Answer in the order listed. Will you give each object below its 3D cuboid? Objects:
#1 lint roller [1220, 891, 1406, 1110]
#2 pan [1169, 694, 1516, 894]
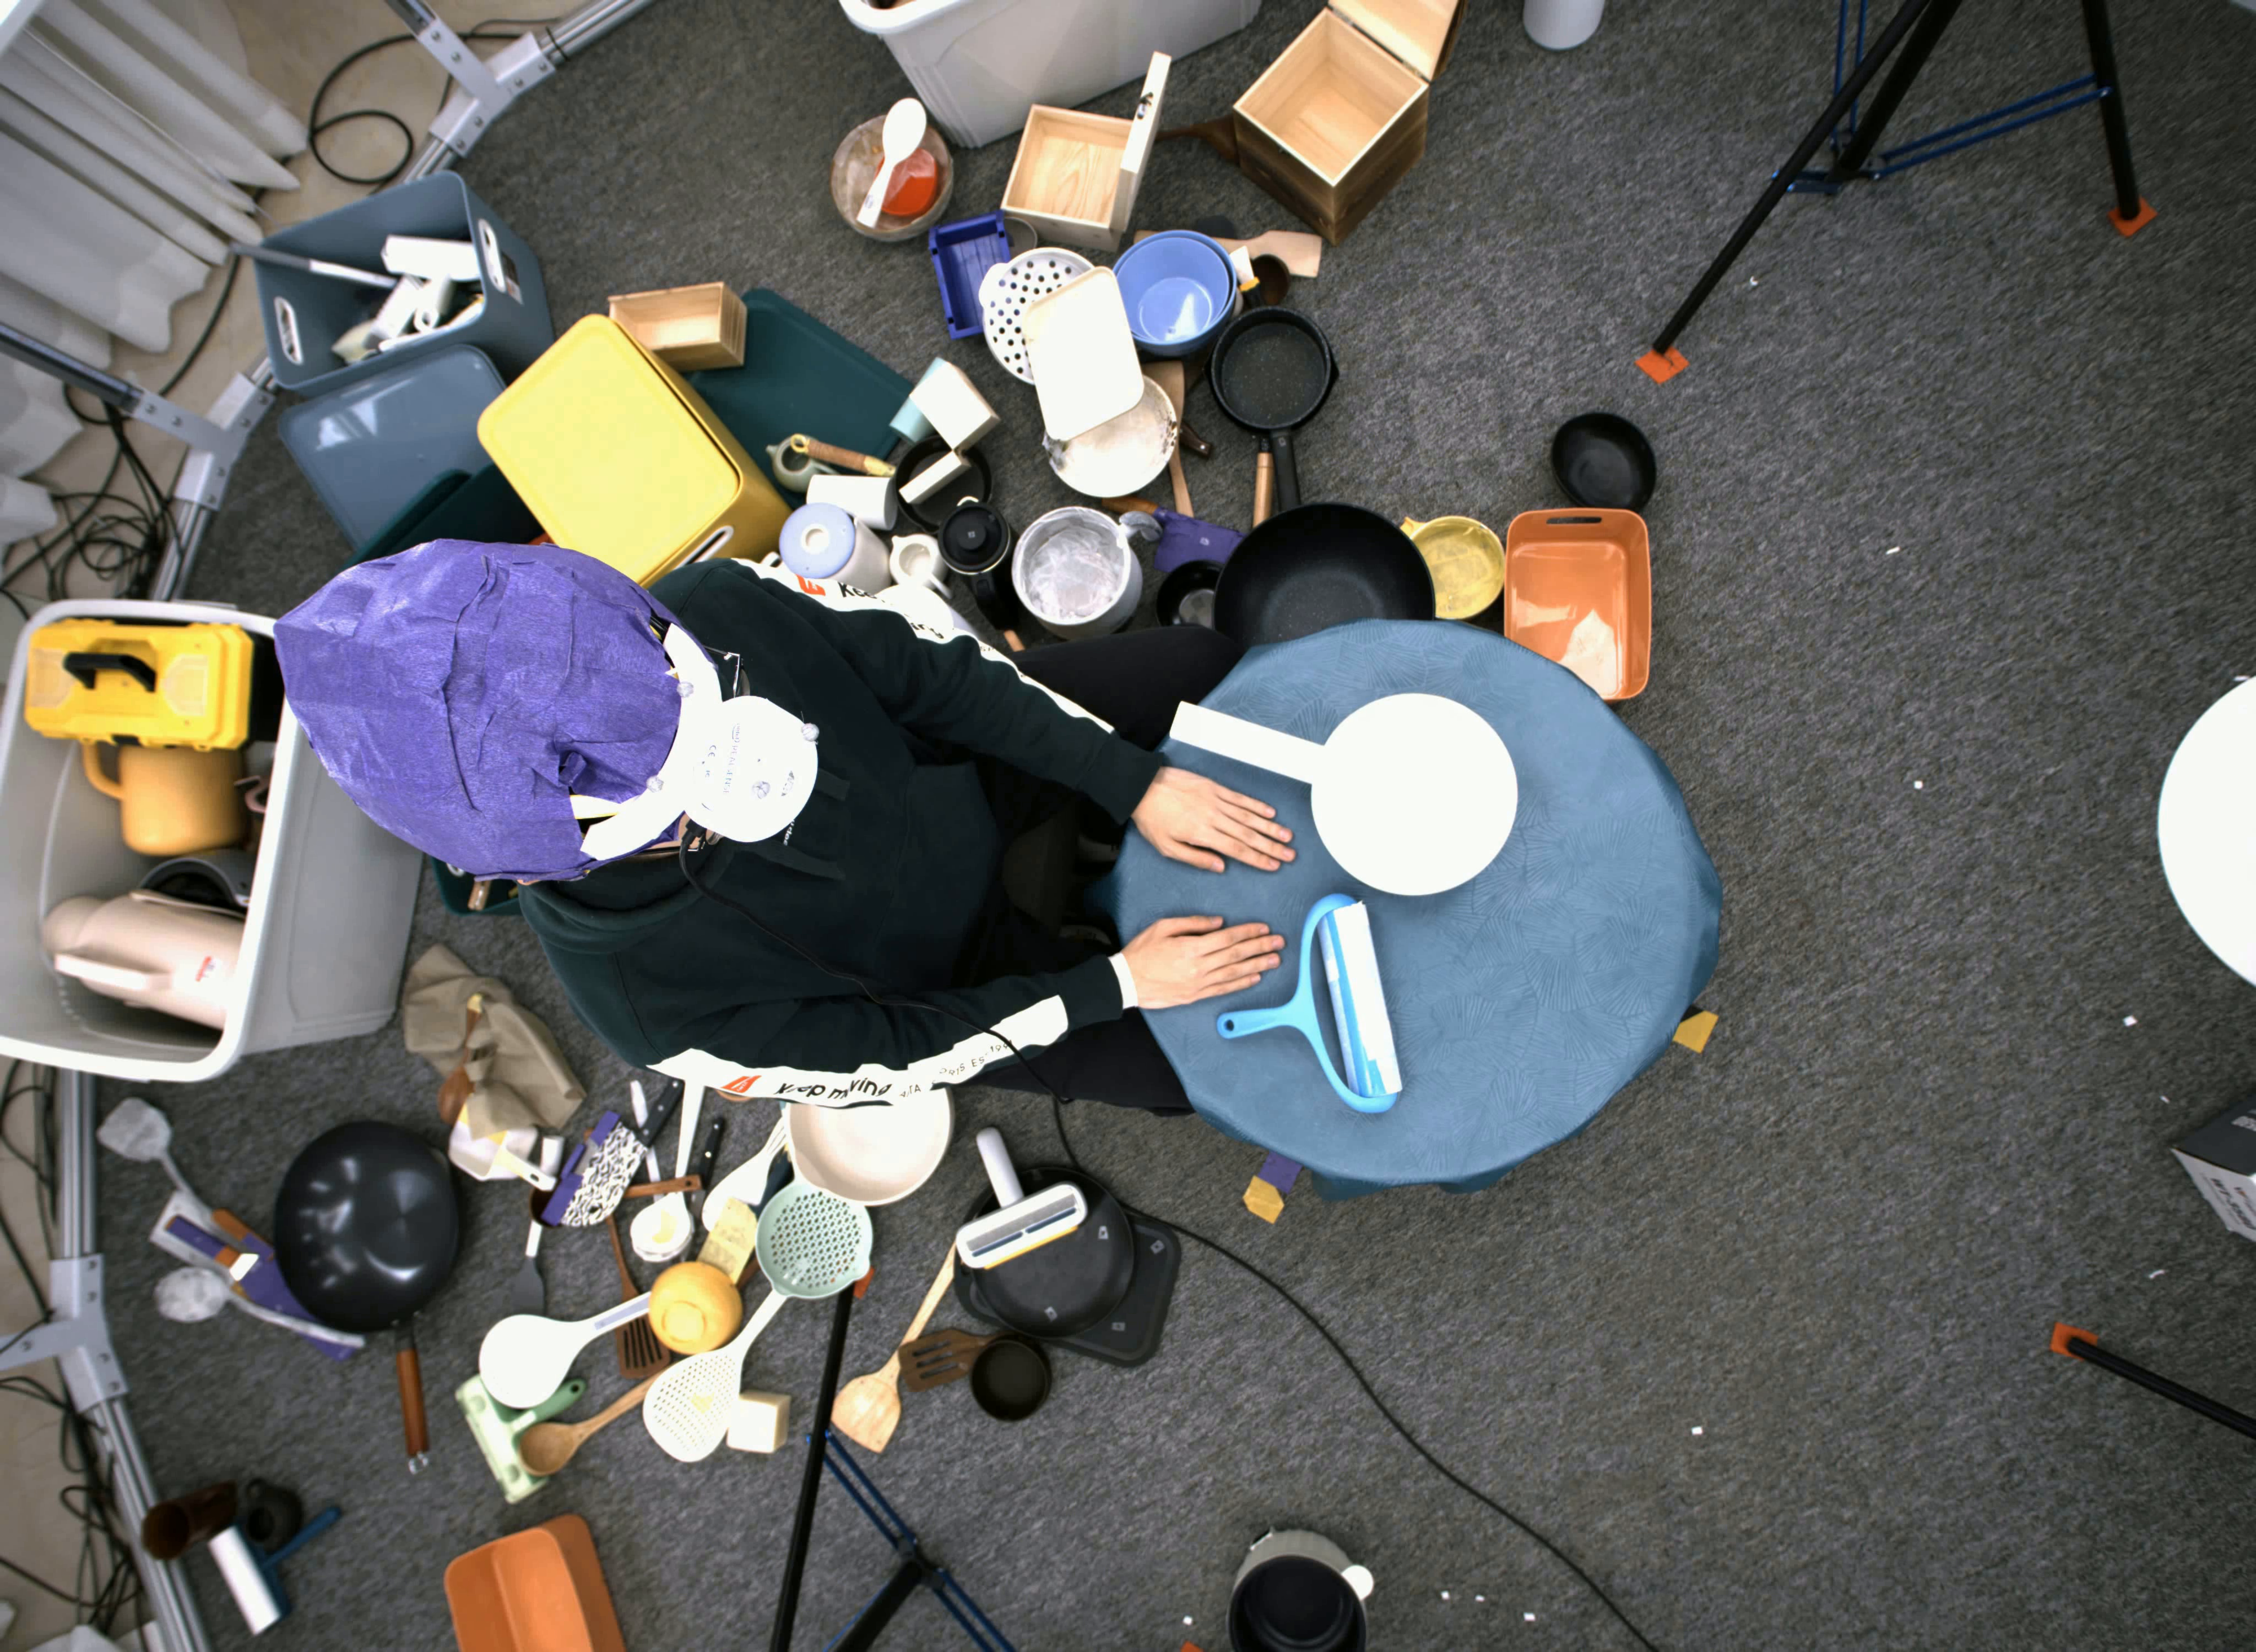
[{"bbox_3d":[0.182,0.193,1.437,0.181,0.068,0.228,-15,86,8],"label":"lint roller"},{"bbox_3d":[0.218,-0.054,1.421,0.355,0.102,0.201,19,91,11],"label":"pan"}]
